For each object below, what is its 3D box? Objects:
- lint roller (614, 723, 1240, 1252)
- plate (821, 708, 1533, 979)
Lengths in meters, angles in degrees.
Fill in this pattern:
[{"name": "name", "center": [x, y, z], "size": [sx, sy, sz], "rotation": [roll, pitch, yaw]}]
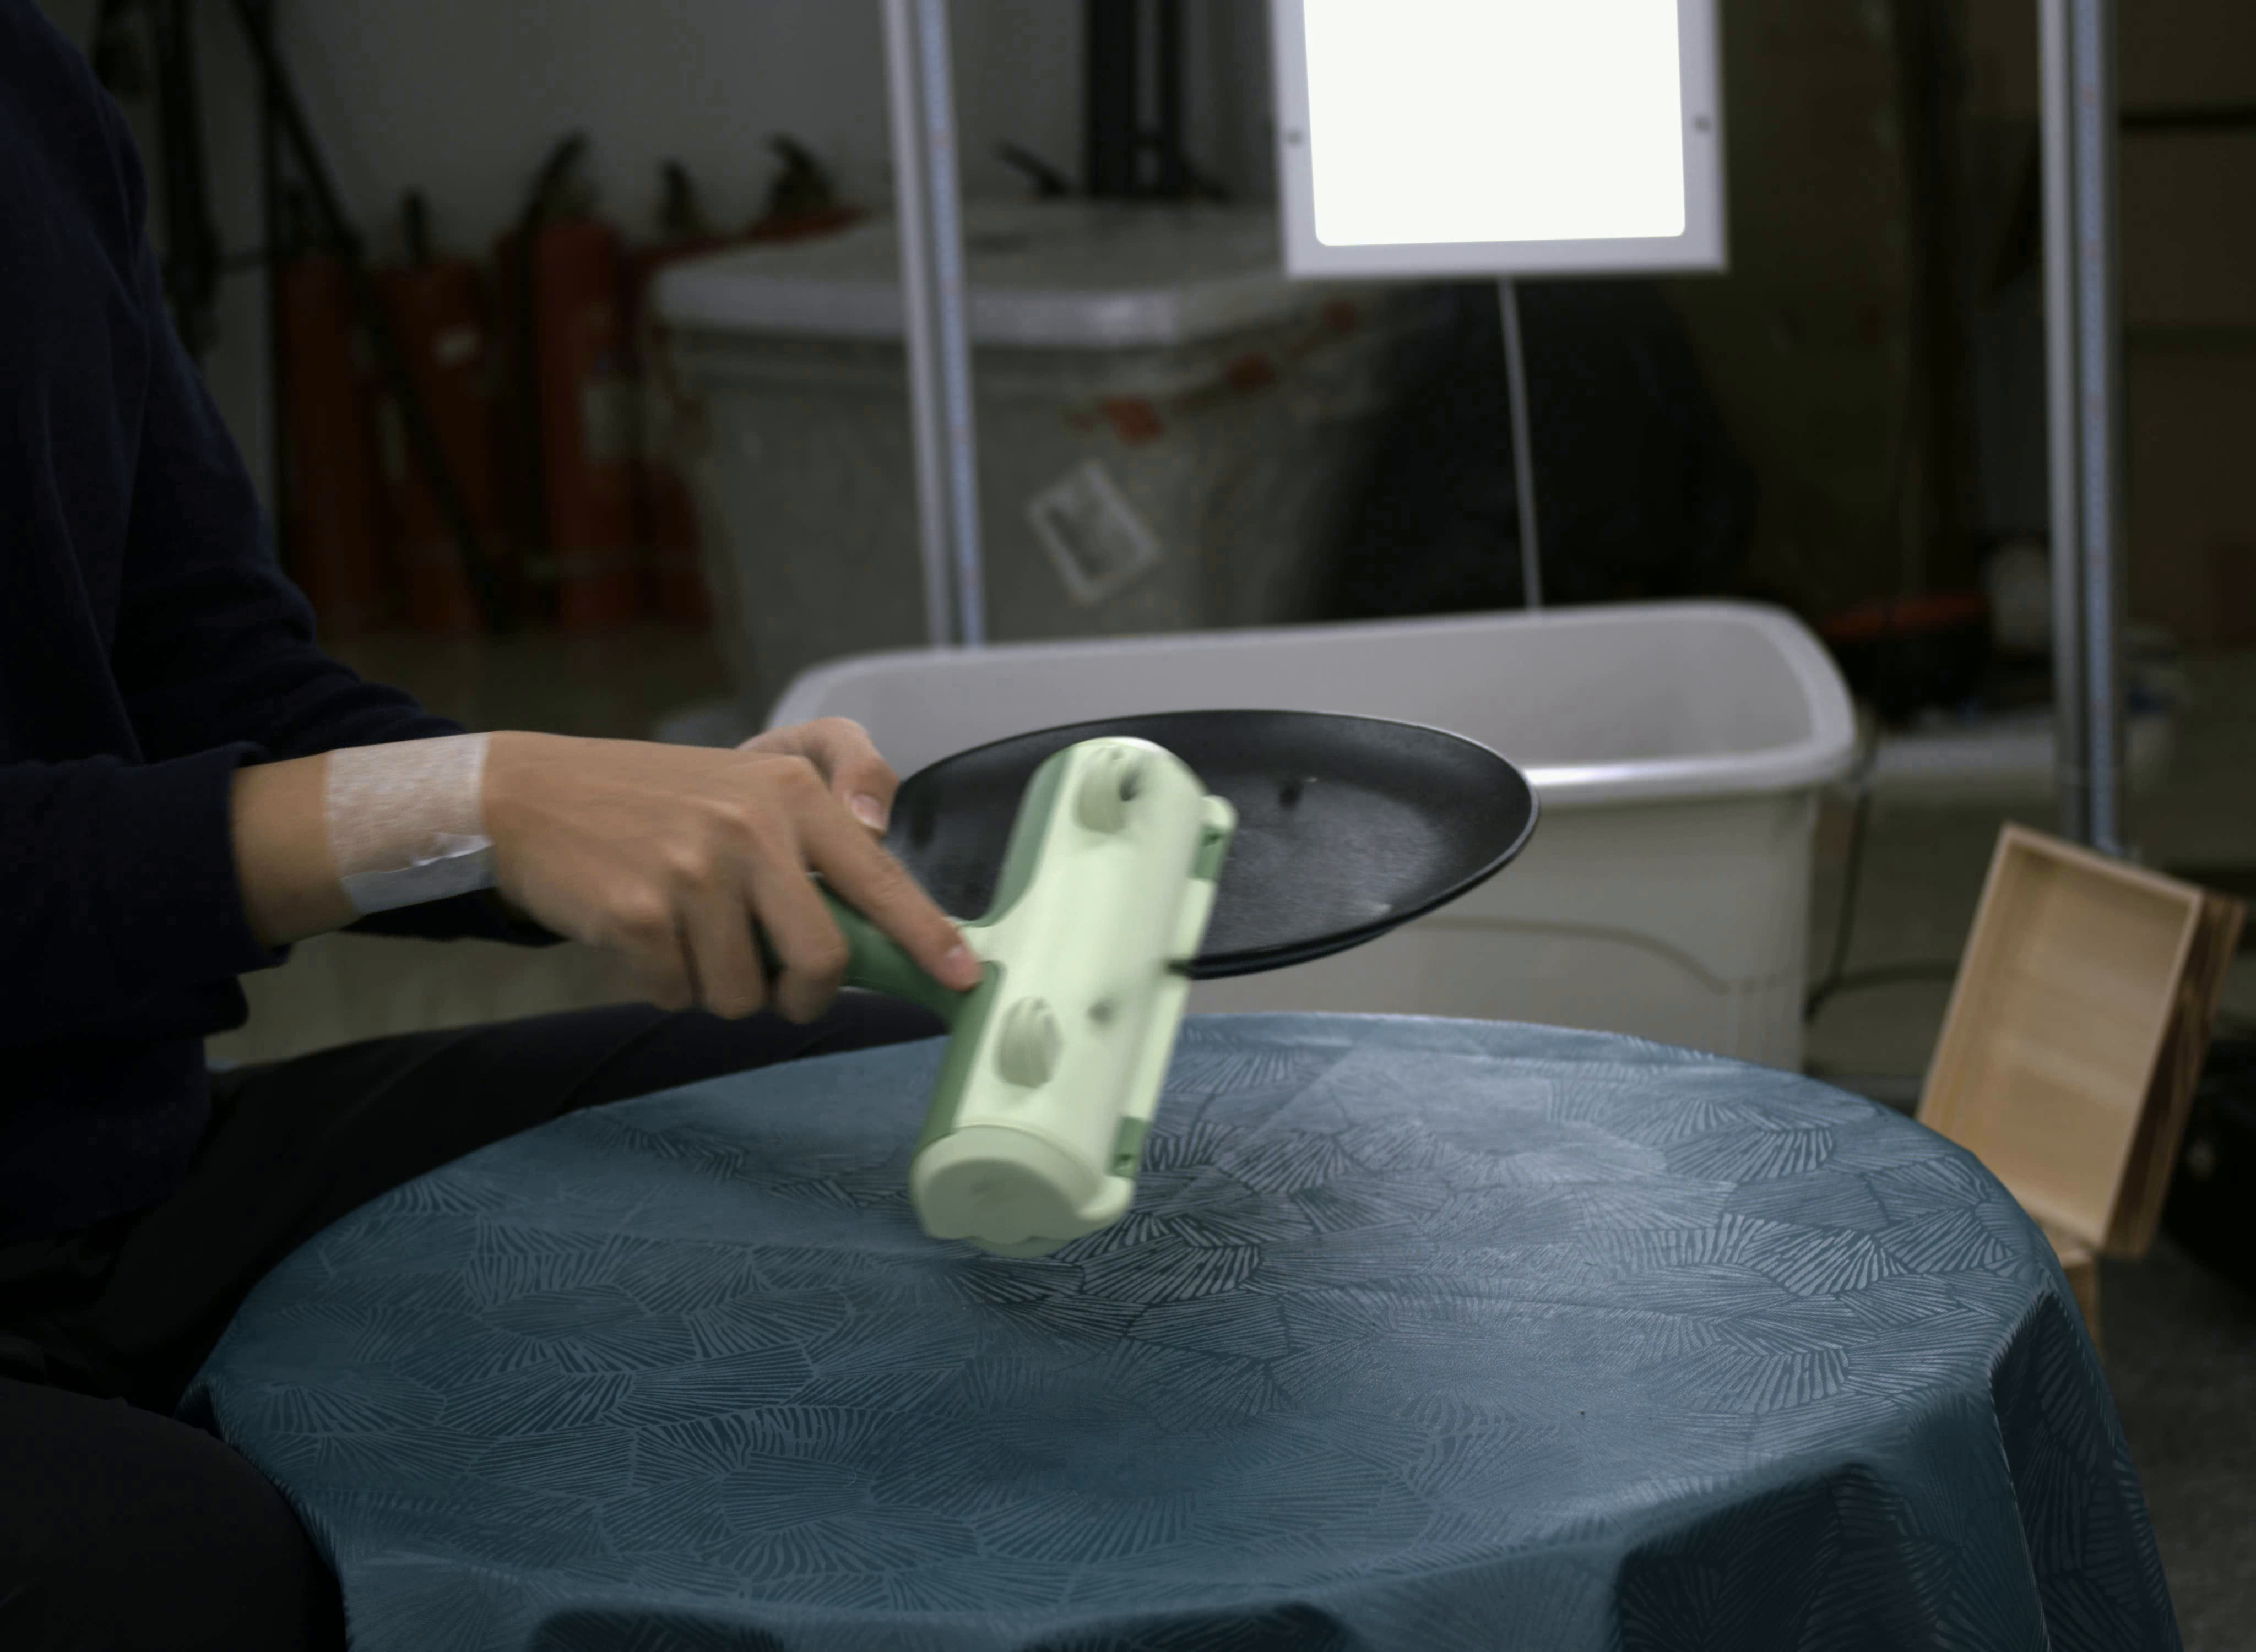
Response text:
[{"name": "lint roller", "center": [-0.065, 0.023, 1.703], "size": [0.182, 0.083, 0.196], "rotation": [21, 43, -4]}, {"name": "plate", "center": [0.017, 0.009, 1.868], "size": [0.244, 0.023, 0.244], "rotation": [-6, 20, 1]}]
